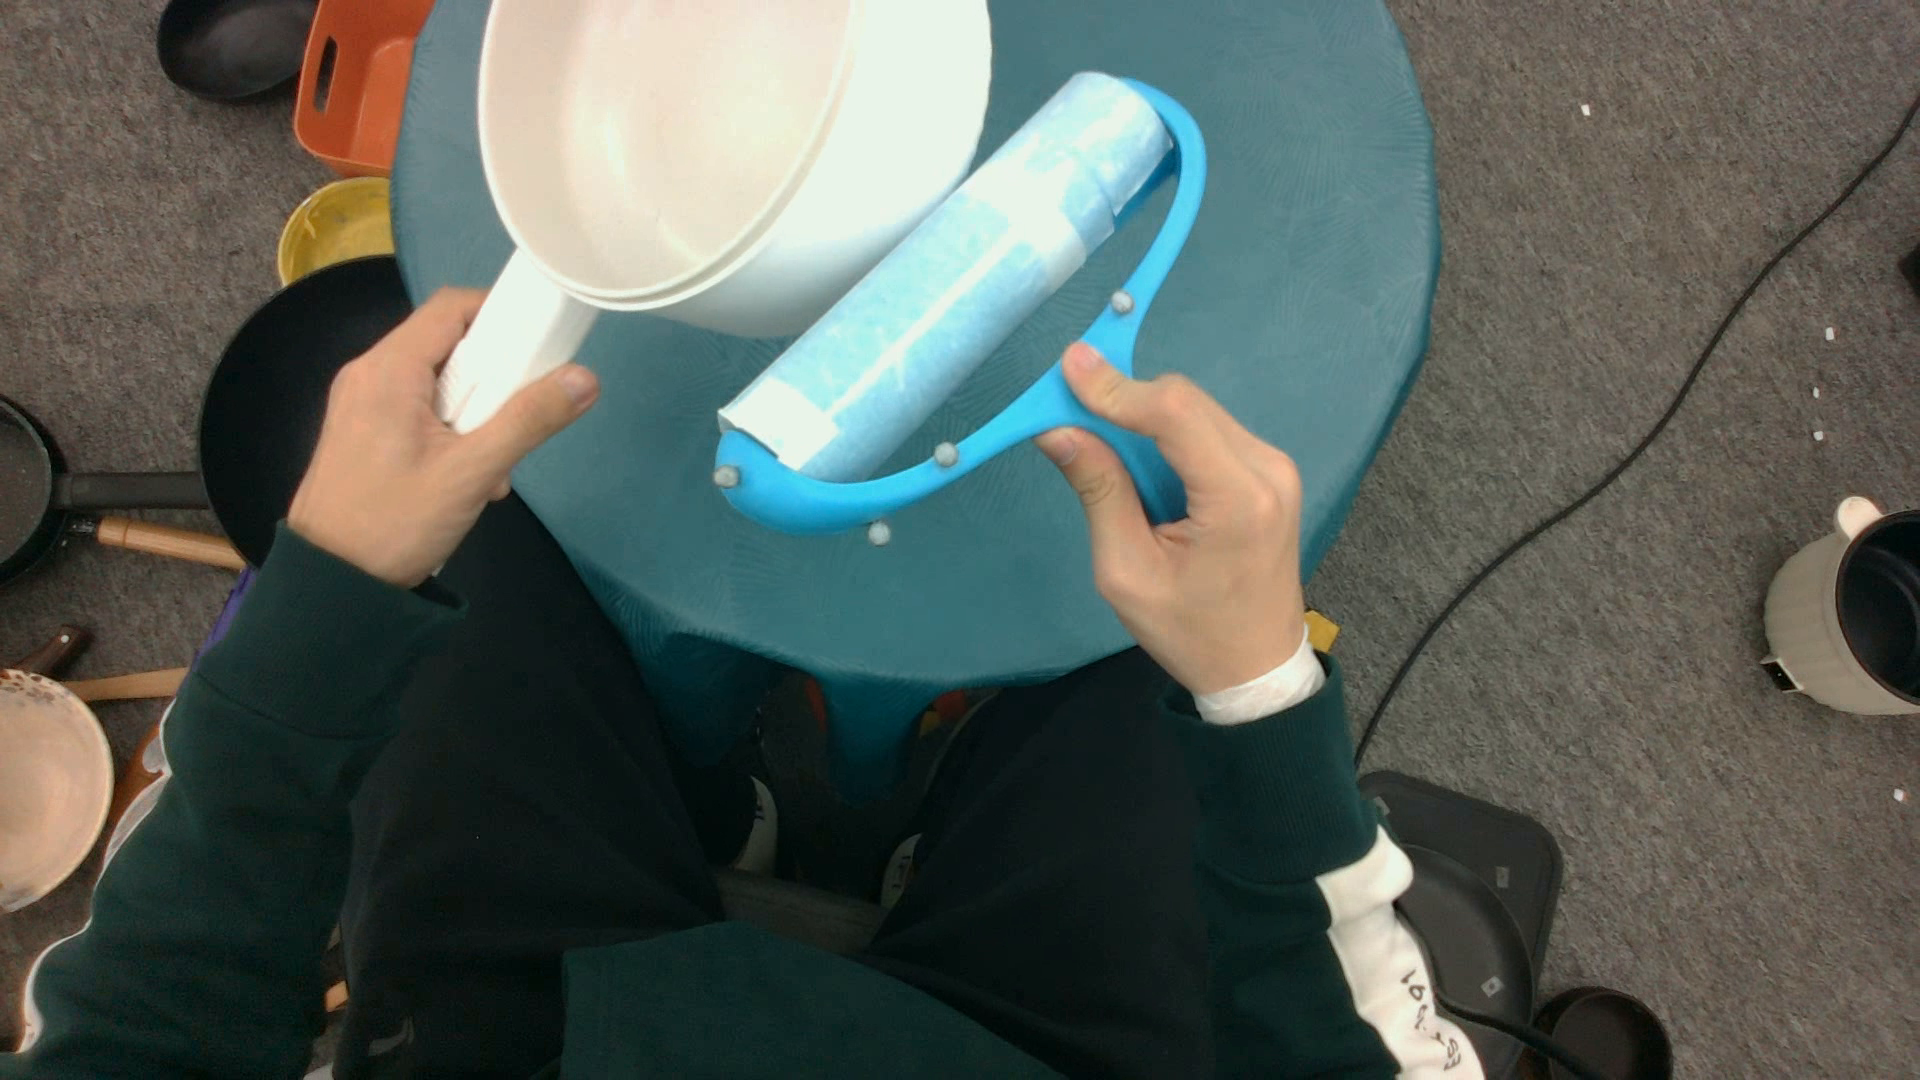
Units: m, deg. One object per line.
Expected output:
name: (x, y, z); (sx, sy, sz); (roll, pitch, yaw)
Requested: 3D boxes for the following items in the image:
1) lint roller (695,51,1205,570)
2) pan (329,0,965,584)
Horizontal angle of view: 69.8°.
lint roller: (0.034, -0.059, 0.511); (0.180, 0.068, 0.229); (41, 73, -5)
pan: (-0.138, -0.124, 0.568); (0.201, 0.102, 0.353); (46, 111, 27)
